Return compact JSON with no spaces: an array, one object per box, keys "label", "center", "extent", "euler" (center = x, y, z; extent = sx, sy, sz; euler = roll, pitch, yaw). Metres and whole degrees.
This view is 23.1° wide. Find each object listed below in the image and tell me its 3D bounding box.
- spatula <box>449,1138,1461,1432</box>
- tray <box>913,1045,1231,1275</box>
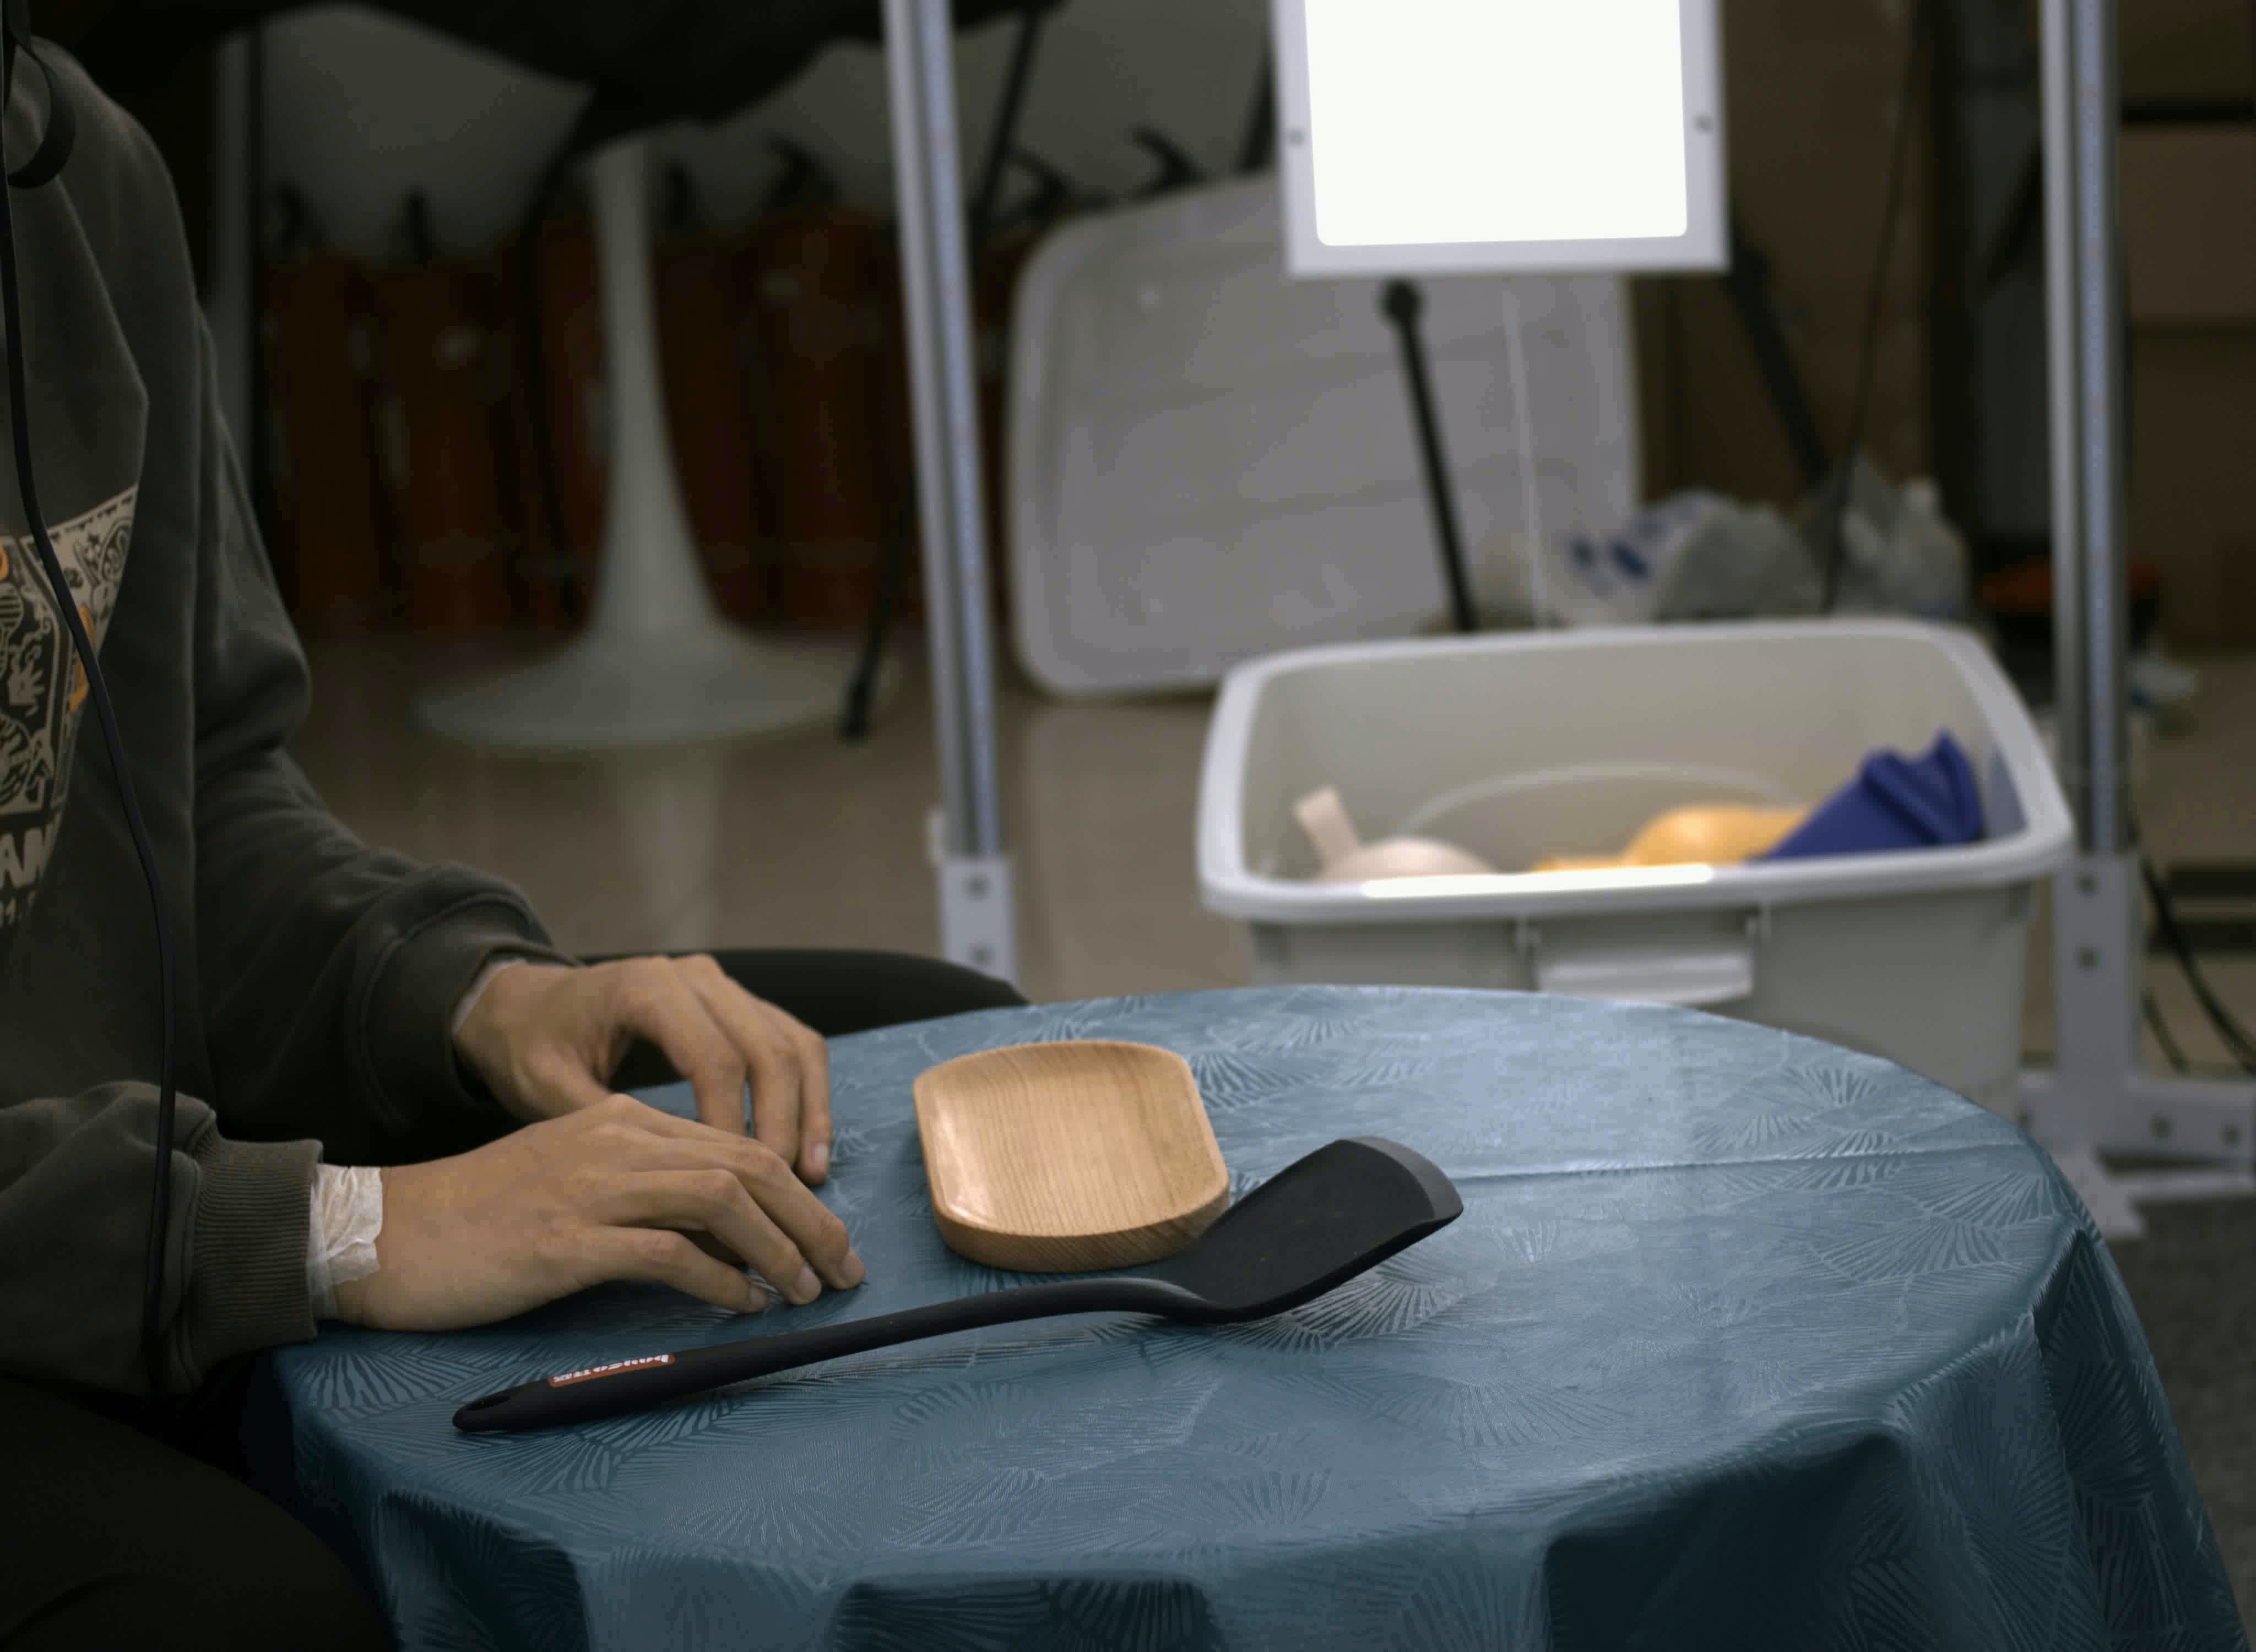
[{"label":"spatula","center":[-0.056,0.150,1.746],"extent":[0.322,0.040,0.100],"euler":[-8,13,-12]},{"label":"tray","center":[-0.021,0.114,1.921],"extent":[0.101,0.020,0.231],"euler":[-7,15,-3]}]
